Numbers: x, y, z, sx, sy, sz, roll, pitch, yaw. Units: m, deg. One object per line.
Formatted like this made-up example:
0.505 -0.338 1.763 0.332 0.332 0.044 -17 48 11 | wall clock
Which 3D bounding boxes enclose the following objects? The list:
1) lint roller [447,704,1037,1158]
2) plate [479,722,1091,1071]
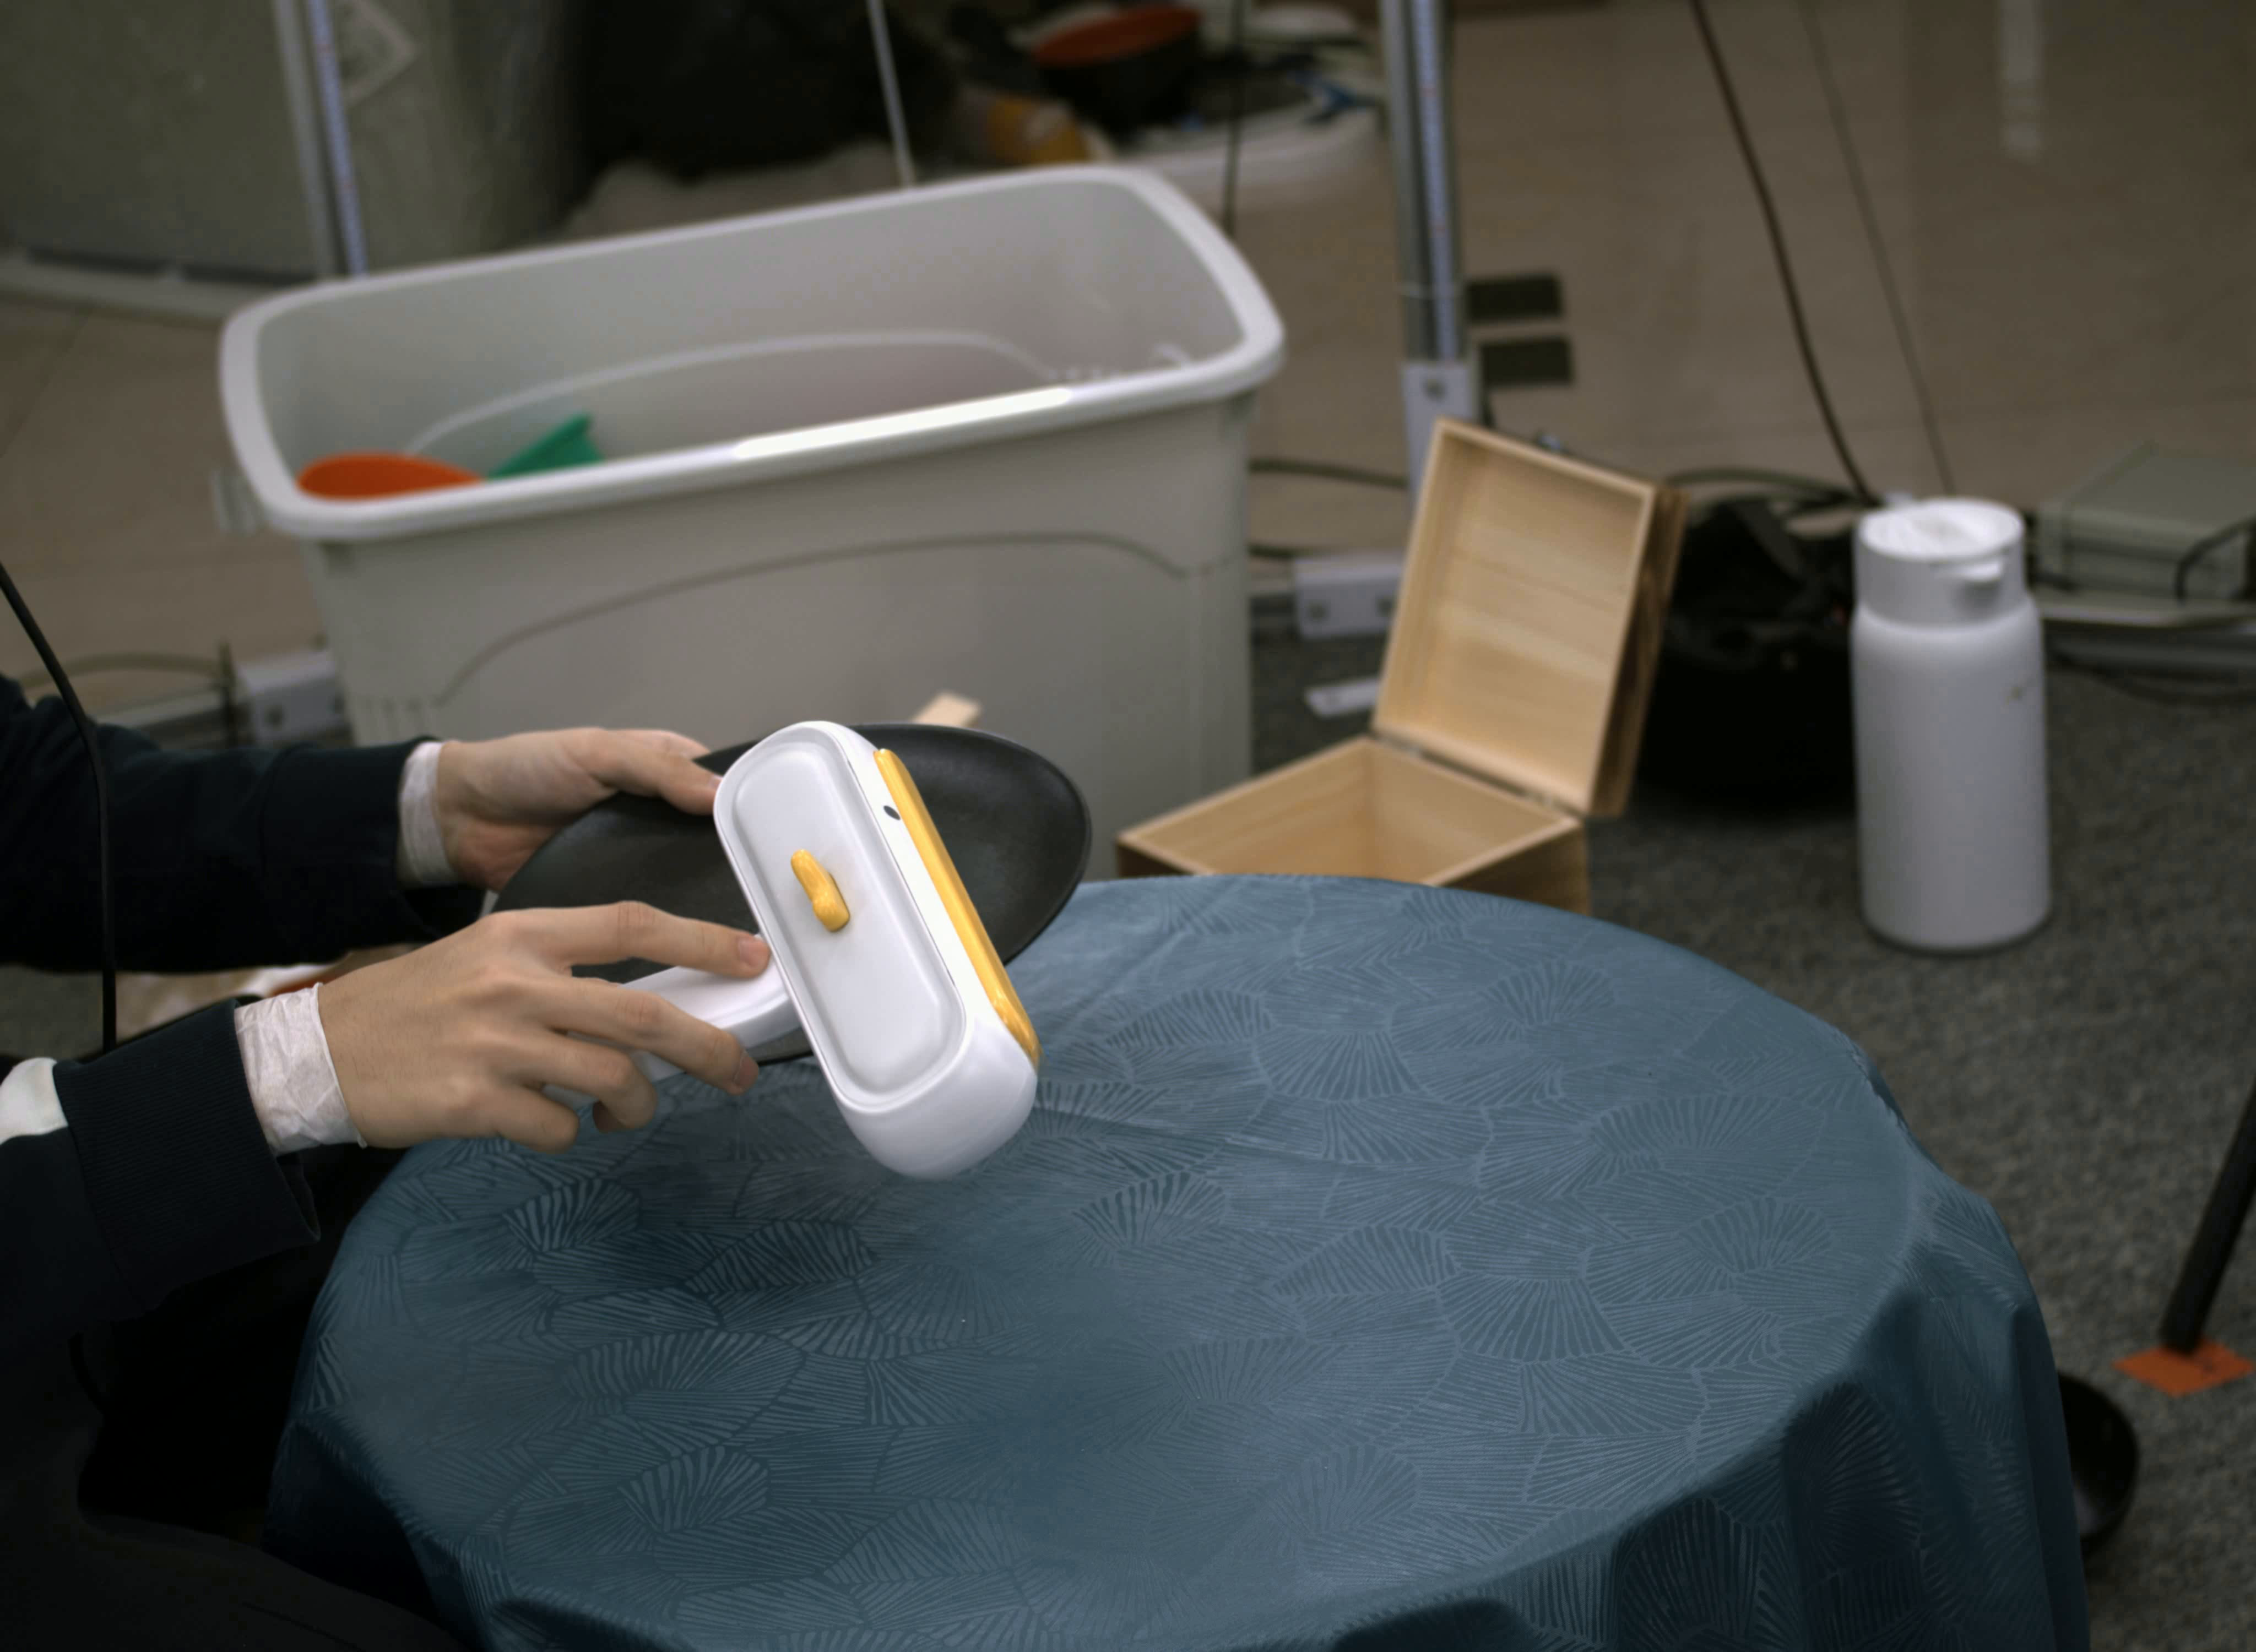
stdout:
-0.144 0.061 1.973 0.192 0.075 0.190 -32 54 -1 | lint roller
-0.131 0.031 2.191 0.244 0.024 0.240 -10 30 6 | plate
